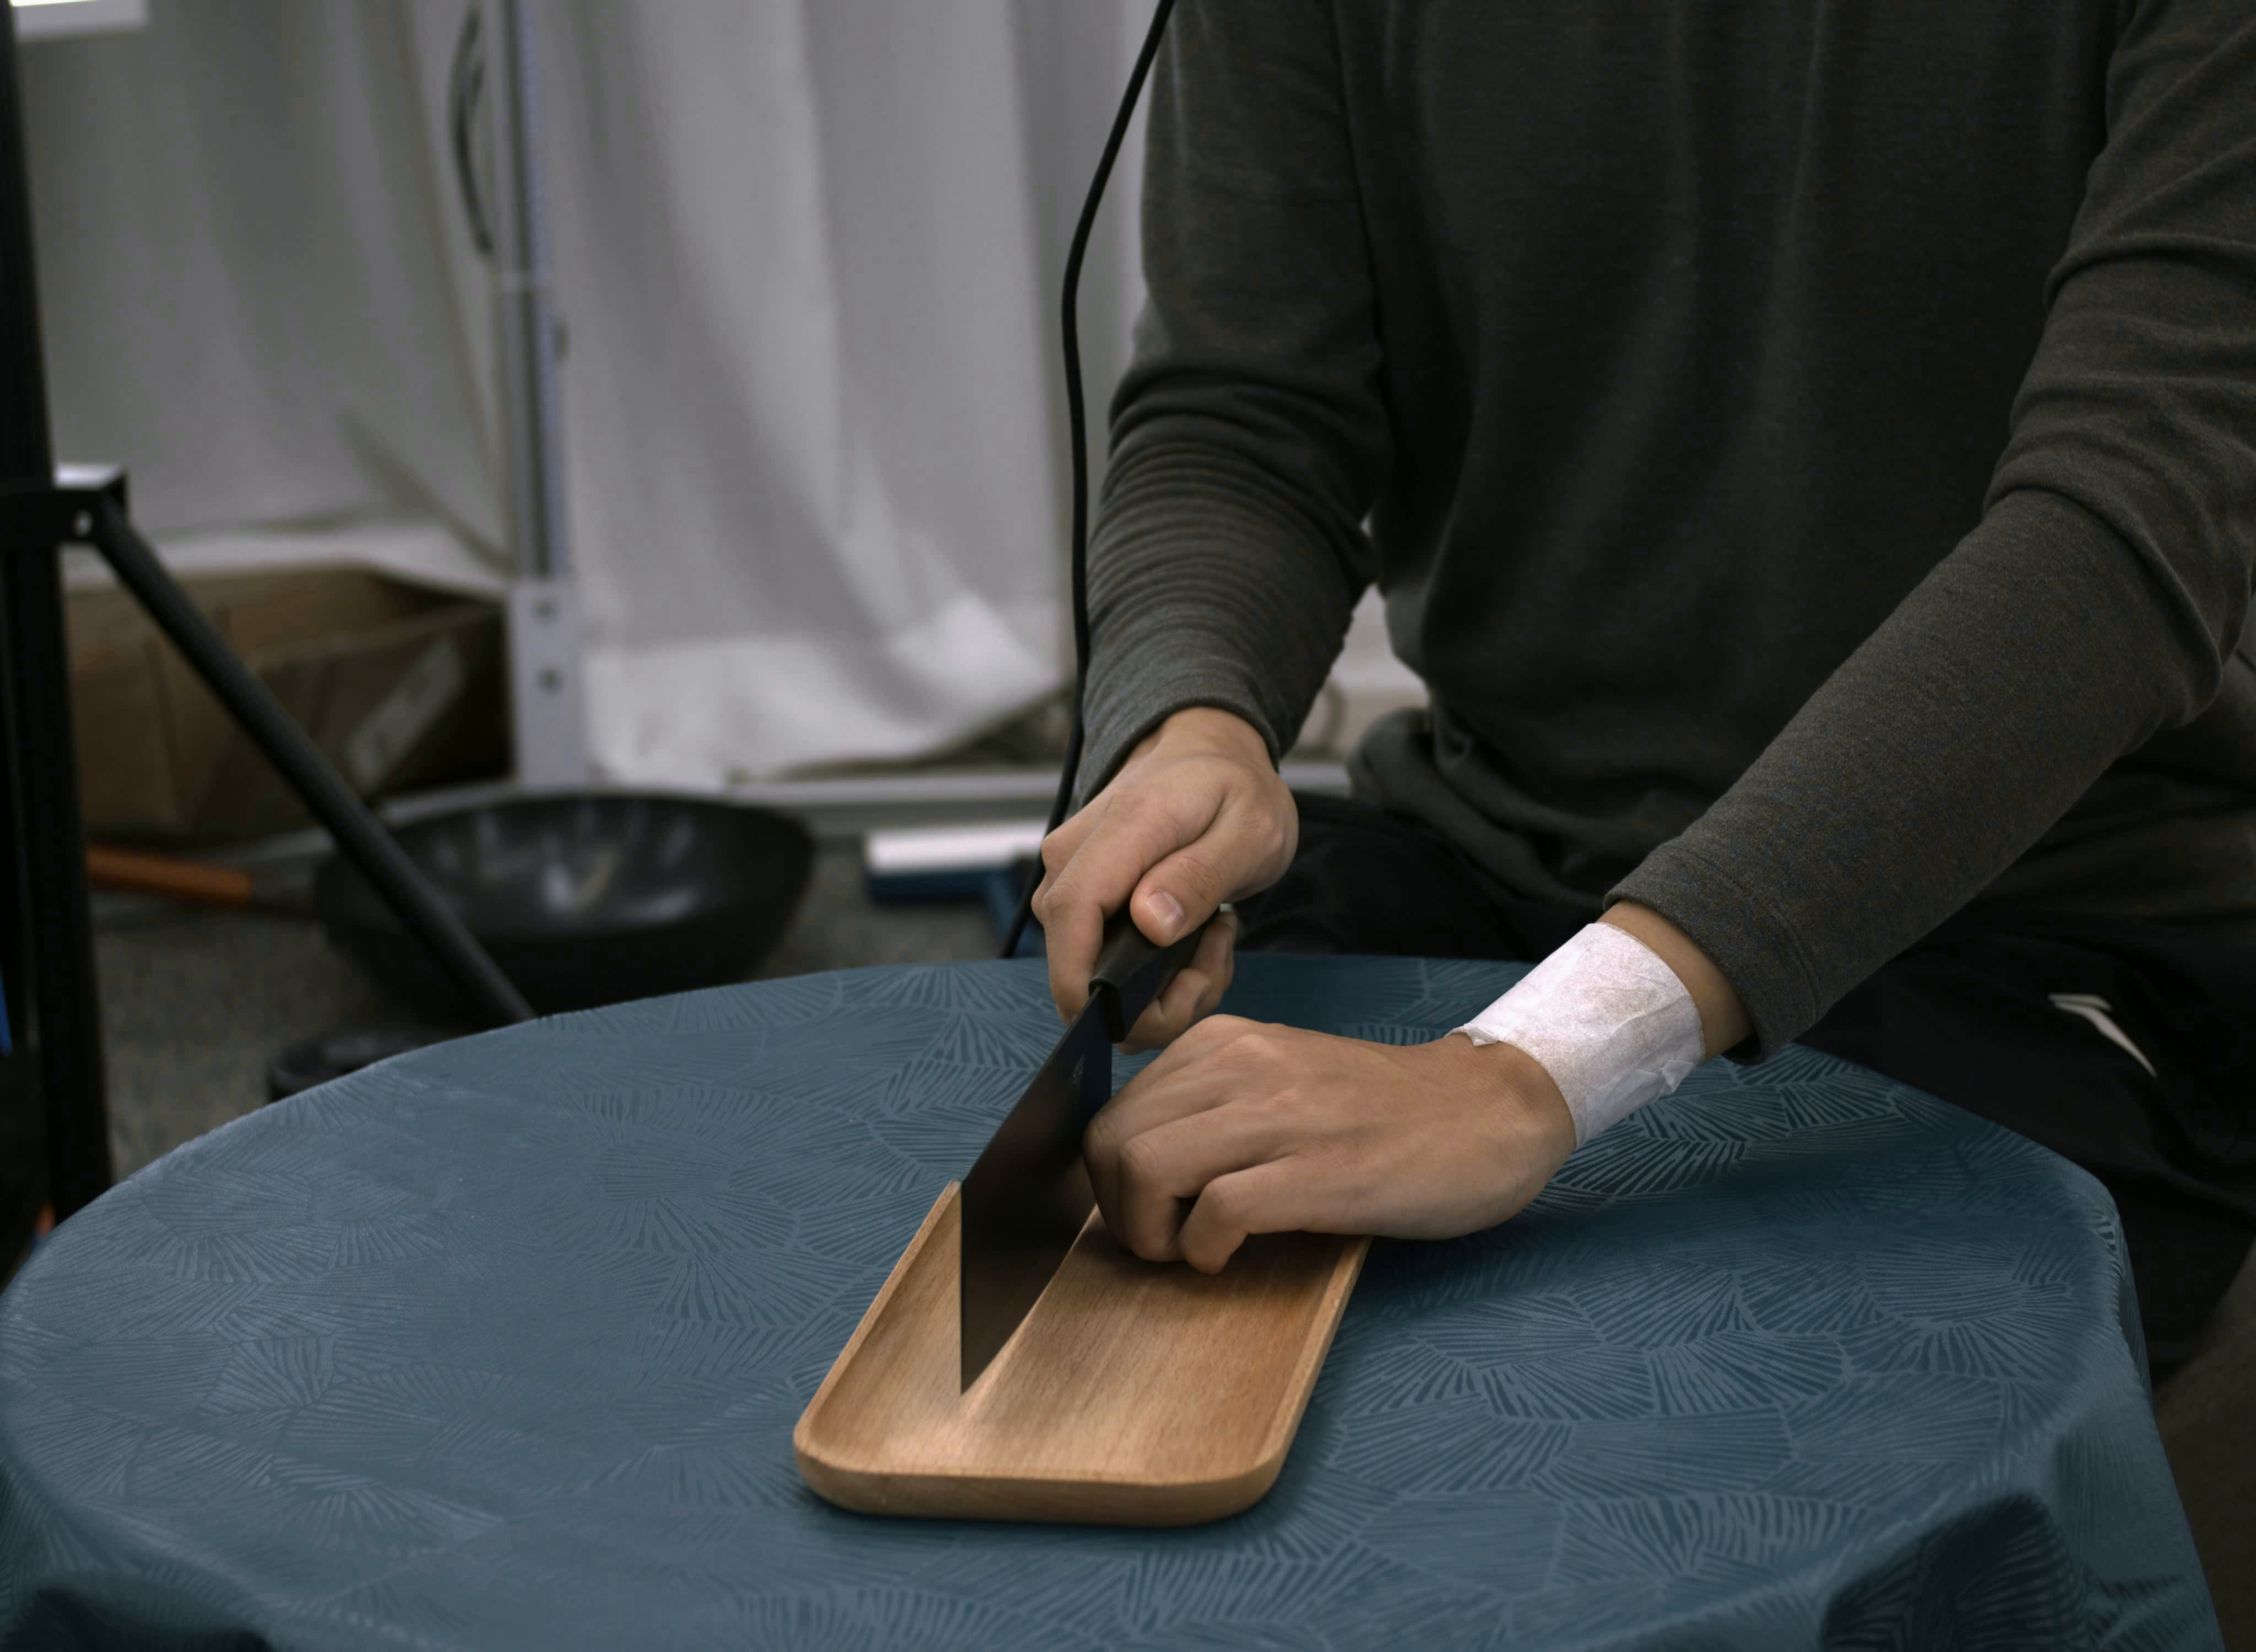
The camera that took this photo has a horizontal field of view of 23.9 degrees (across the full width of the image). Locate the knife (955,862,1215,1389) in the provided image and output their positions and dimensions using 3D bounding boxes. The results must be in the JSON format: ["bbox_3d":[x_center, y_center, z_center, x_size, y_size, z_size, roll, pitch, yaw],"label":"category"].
[{"bbox_3d":[-0.012,0.076,1.503,0.021,0.081,0.301,5,21,11],"label":"knife"}]

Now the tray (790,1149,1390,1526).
[{"bbox_3d":[-0.005,0.135,1.438,0.131,0.023,0.249,3,15,11],"label":"tray"}]
